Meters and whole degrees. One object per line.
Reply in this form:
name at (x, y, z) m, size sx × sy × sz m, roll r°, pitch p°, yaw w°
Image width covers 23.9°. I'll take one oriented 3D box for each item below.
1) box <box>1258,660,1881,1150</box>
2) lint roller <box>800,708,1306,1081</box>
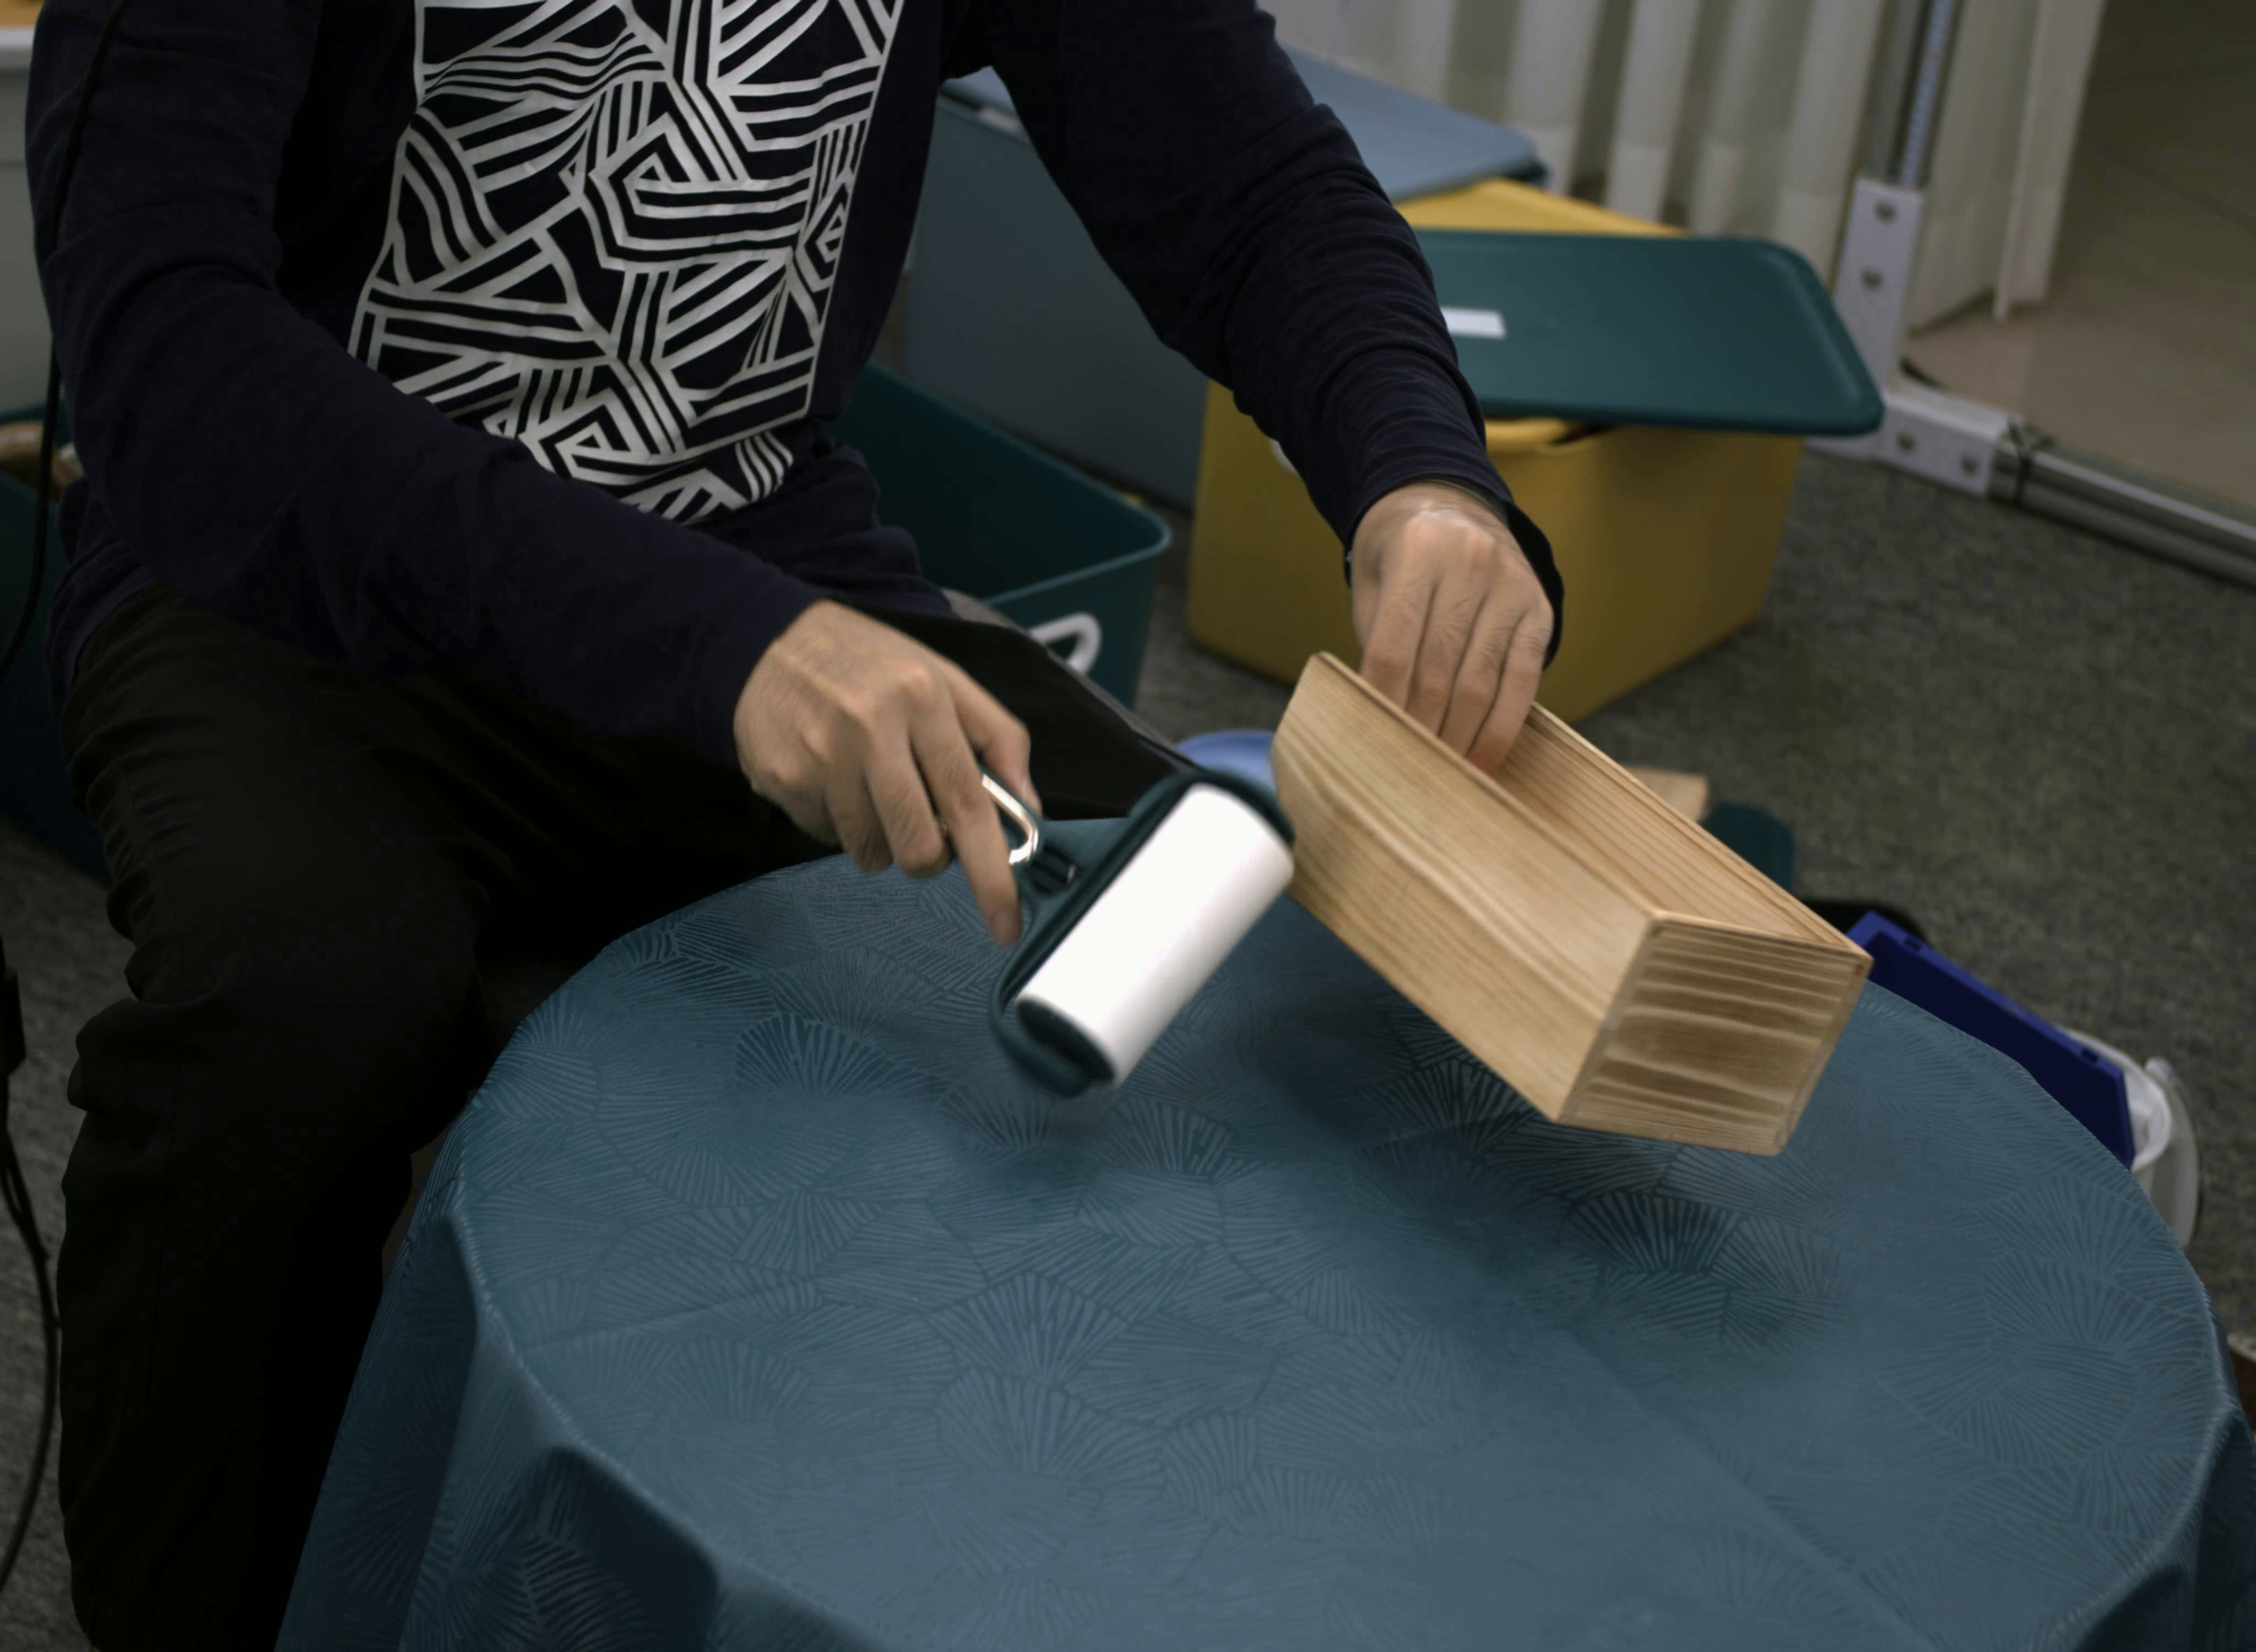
box at (0.146, 0.026, 1.852) m, size 0.106 × 0.080 × 0.213 m, roll 11°, pitch 18°, yaw -38°
lint roller at (-0.044, -0.001, 1.868) m, size 0.181 × 0.048 × 0.134 m, roll 32°, pitch 69°, yaw 18°
